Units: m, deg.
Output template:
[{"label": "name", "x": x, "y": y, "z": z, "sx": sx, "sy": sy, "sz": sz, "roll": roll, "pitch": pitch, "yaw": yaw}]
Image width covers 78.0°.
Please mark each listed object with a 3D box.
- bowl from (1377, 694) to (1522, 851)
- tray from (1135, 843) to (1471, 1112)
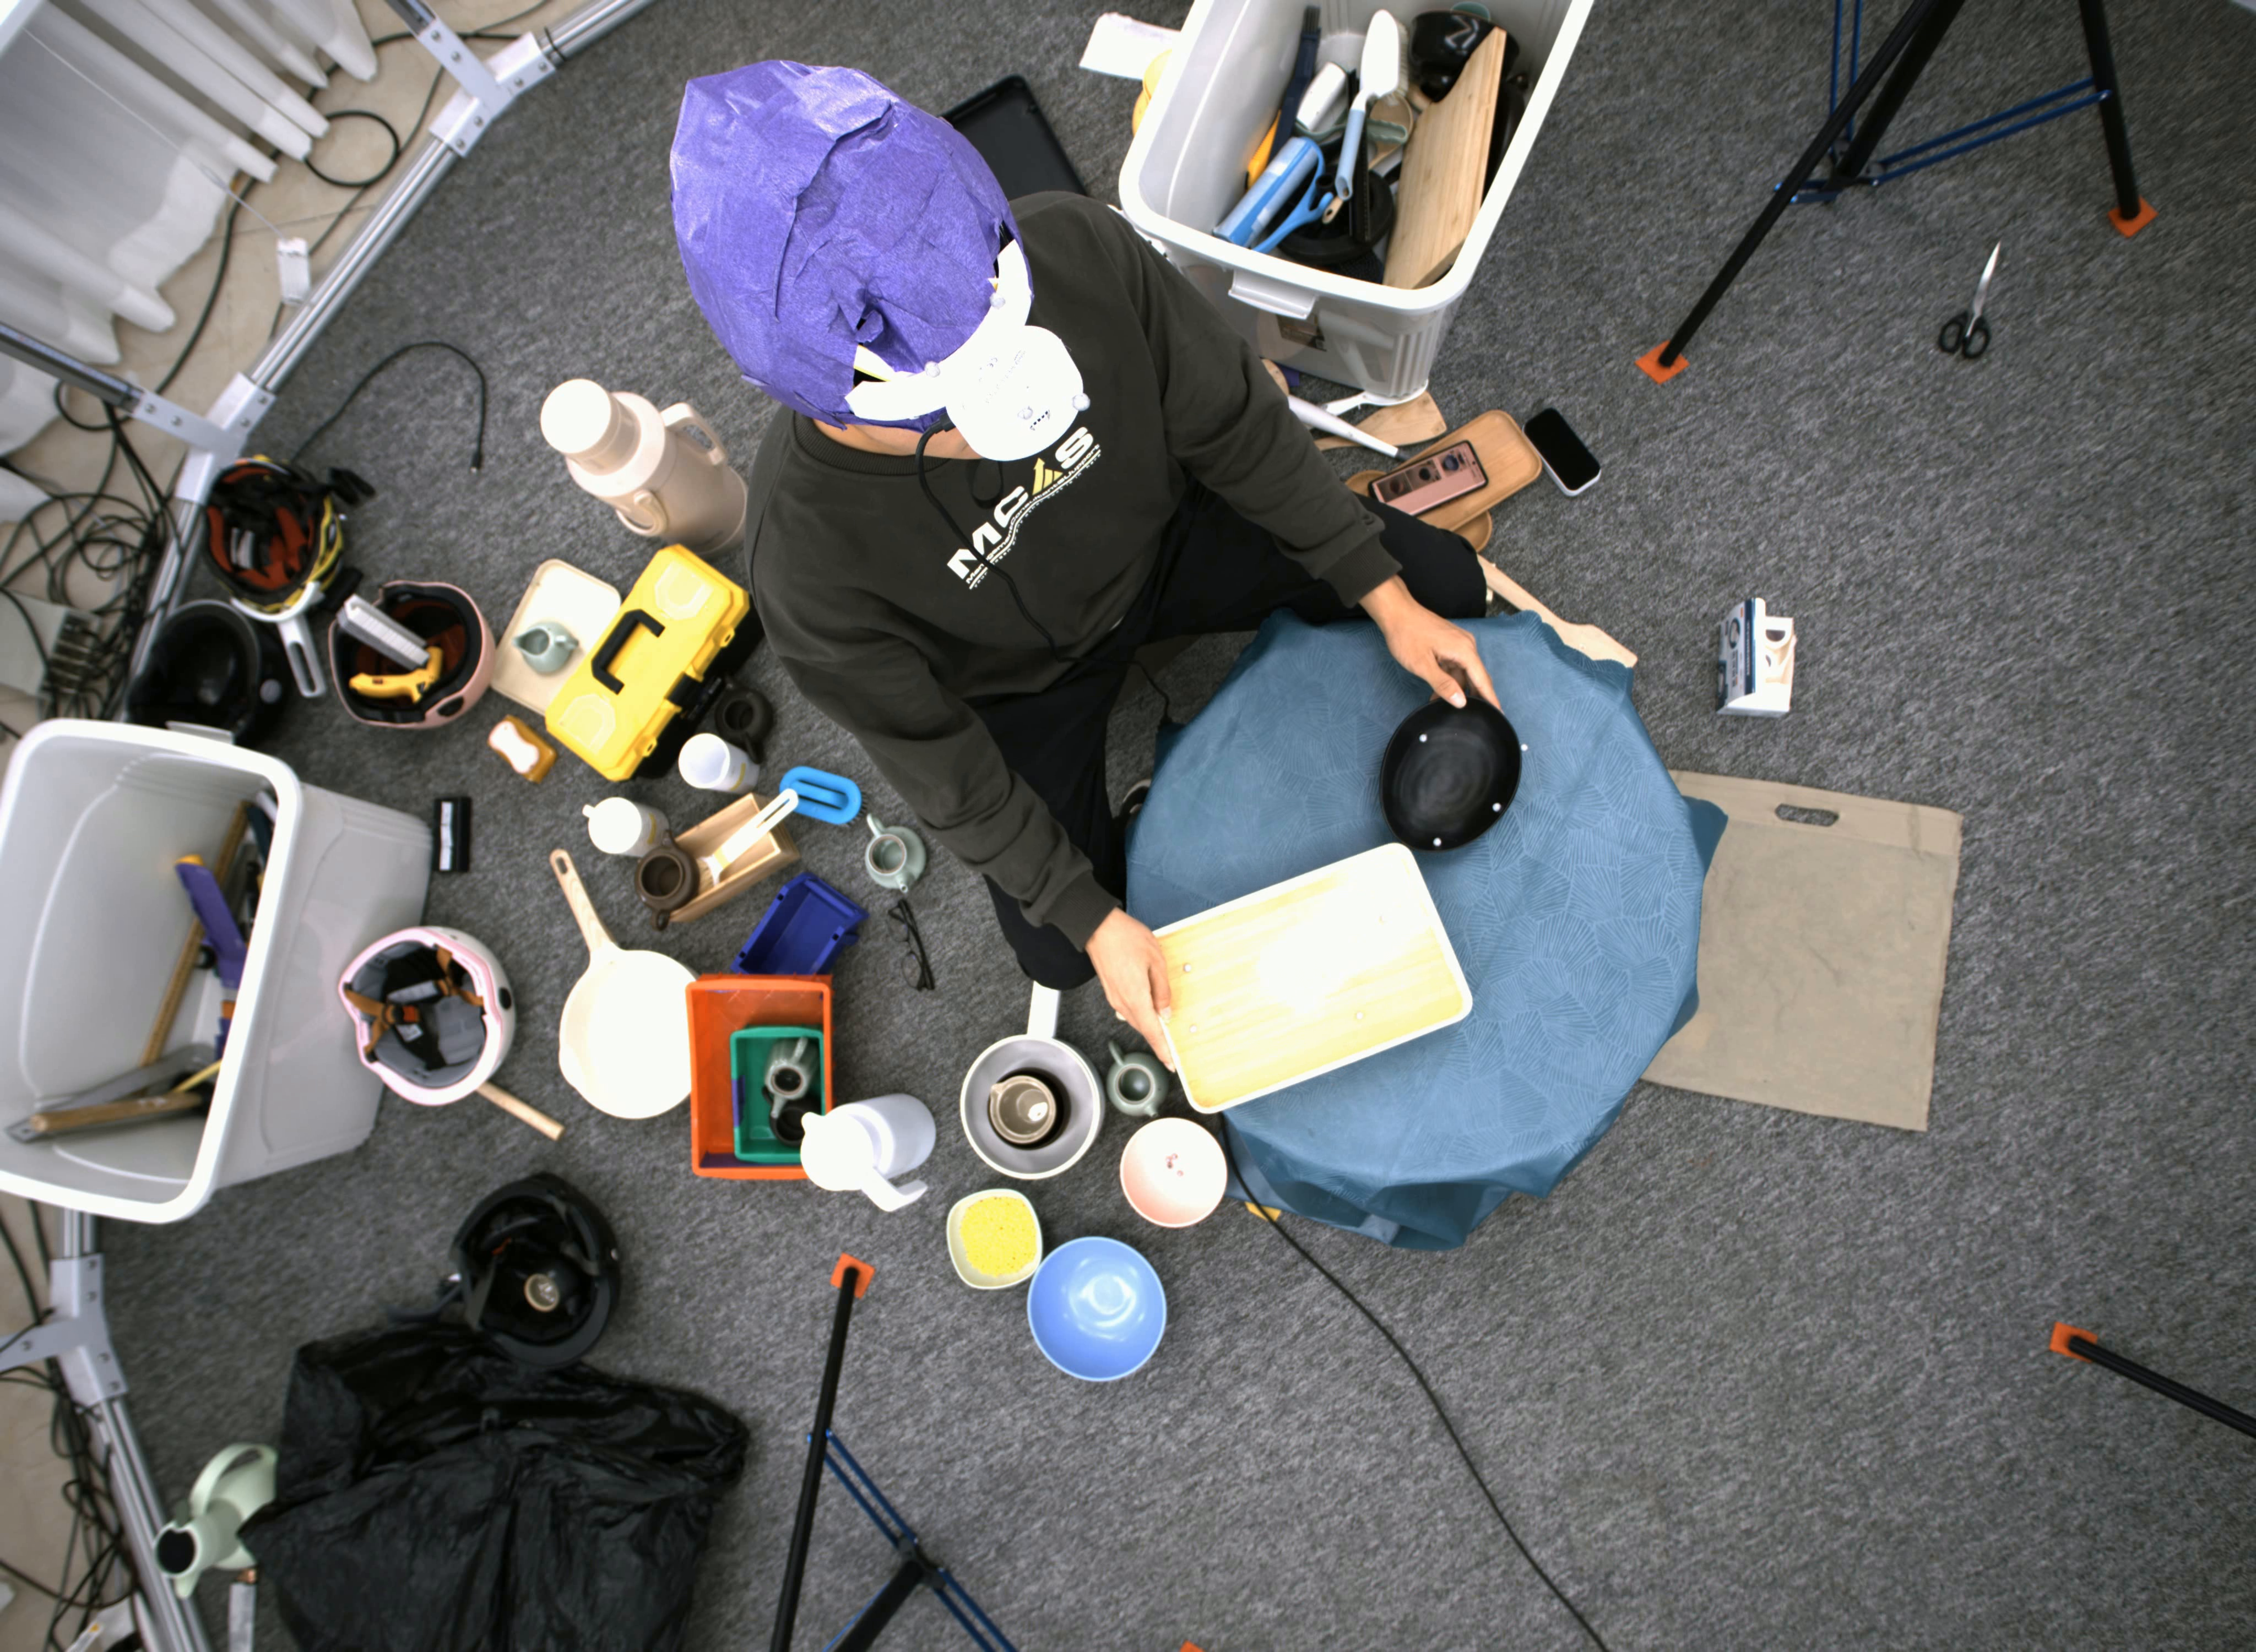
[{"label": "bowl", "x": 0.332, "y": -0.053, "z": 1.424, "sx": 0.137, "sy": 0.066, "sz": 0.171, "roll": 27, "pitch": 93, "yaw": 13}, {"label": "tray", "x": 0.175, "y": 0.151, "z": 1.401, "sx": 0.300, "sy": 0.027, "sz": 0.190, "roll": -20, "pitch": 79, "yaw": 0}]
